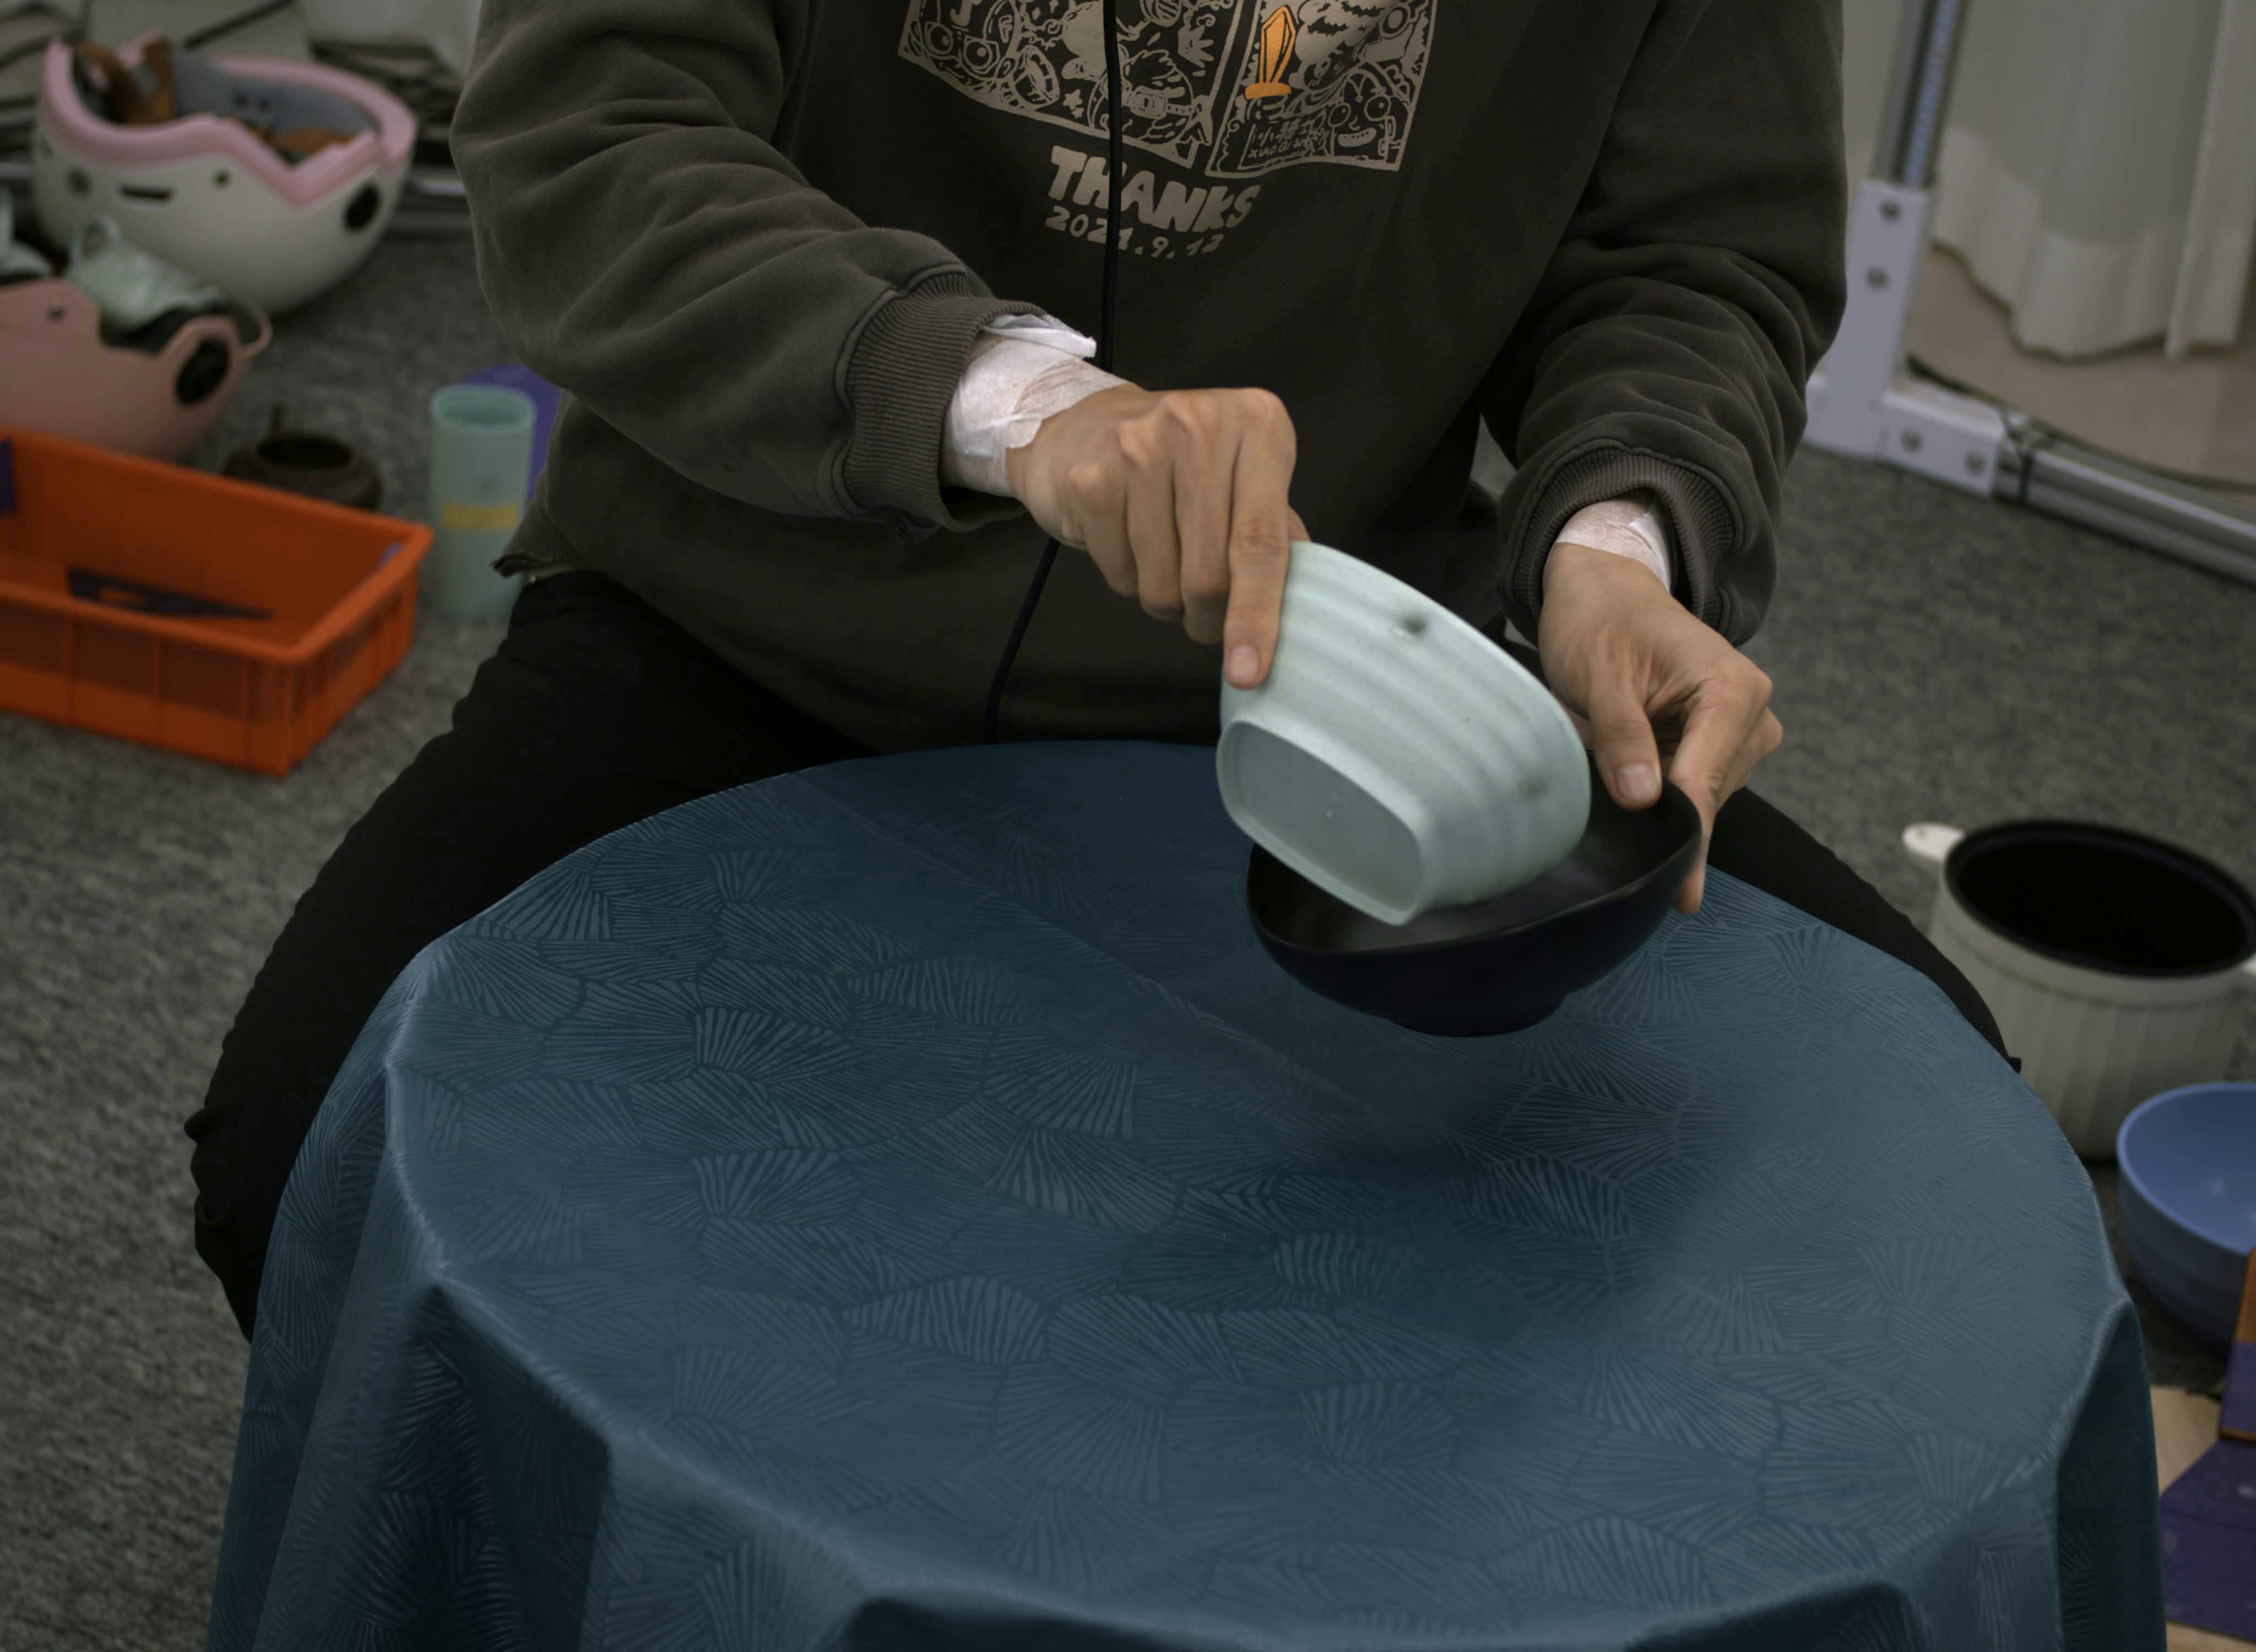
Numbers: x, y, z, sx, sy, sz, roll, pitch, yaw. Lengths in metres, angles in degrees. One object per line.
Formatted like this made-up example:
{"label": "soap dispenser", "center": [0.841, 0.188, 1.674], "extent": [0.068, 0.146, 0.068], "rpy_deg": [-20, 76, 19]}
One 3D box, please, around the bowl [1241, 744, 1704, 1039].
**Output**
{"label": "bowl", "center": [0.119, 0.030, 1.823], "extent": [0.169, 0.066, 0.138], "rpy_deg": [-21, 32, -32]}

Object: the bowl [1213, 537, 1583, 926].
{"label": "bowl", "center": [0.078, -0.021, 1.763], "extent": [0.152, 0.150, 0.058], "rpy_deg": [26, 63, 34]}
